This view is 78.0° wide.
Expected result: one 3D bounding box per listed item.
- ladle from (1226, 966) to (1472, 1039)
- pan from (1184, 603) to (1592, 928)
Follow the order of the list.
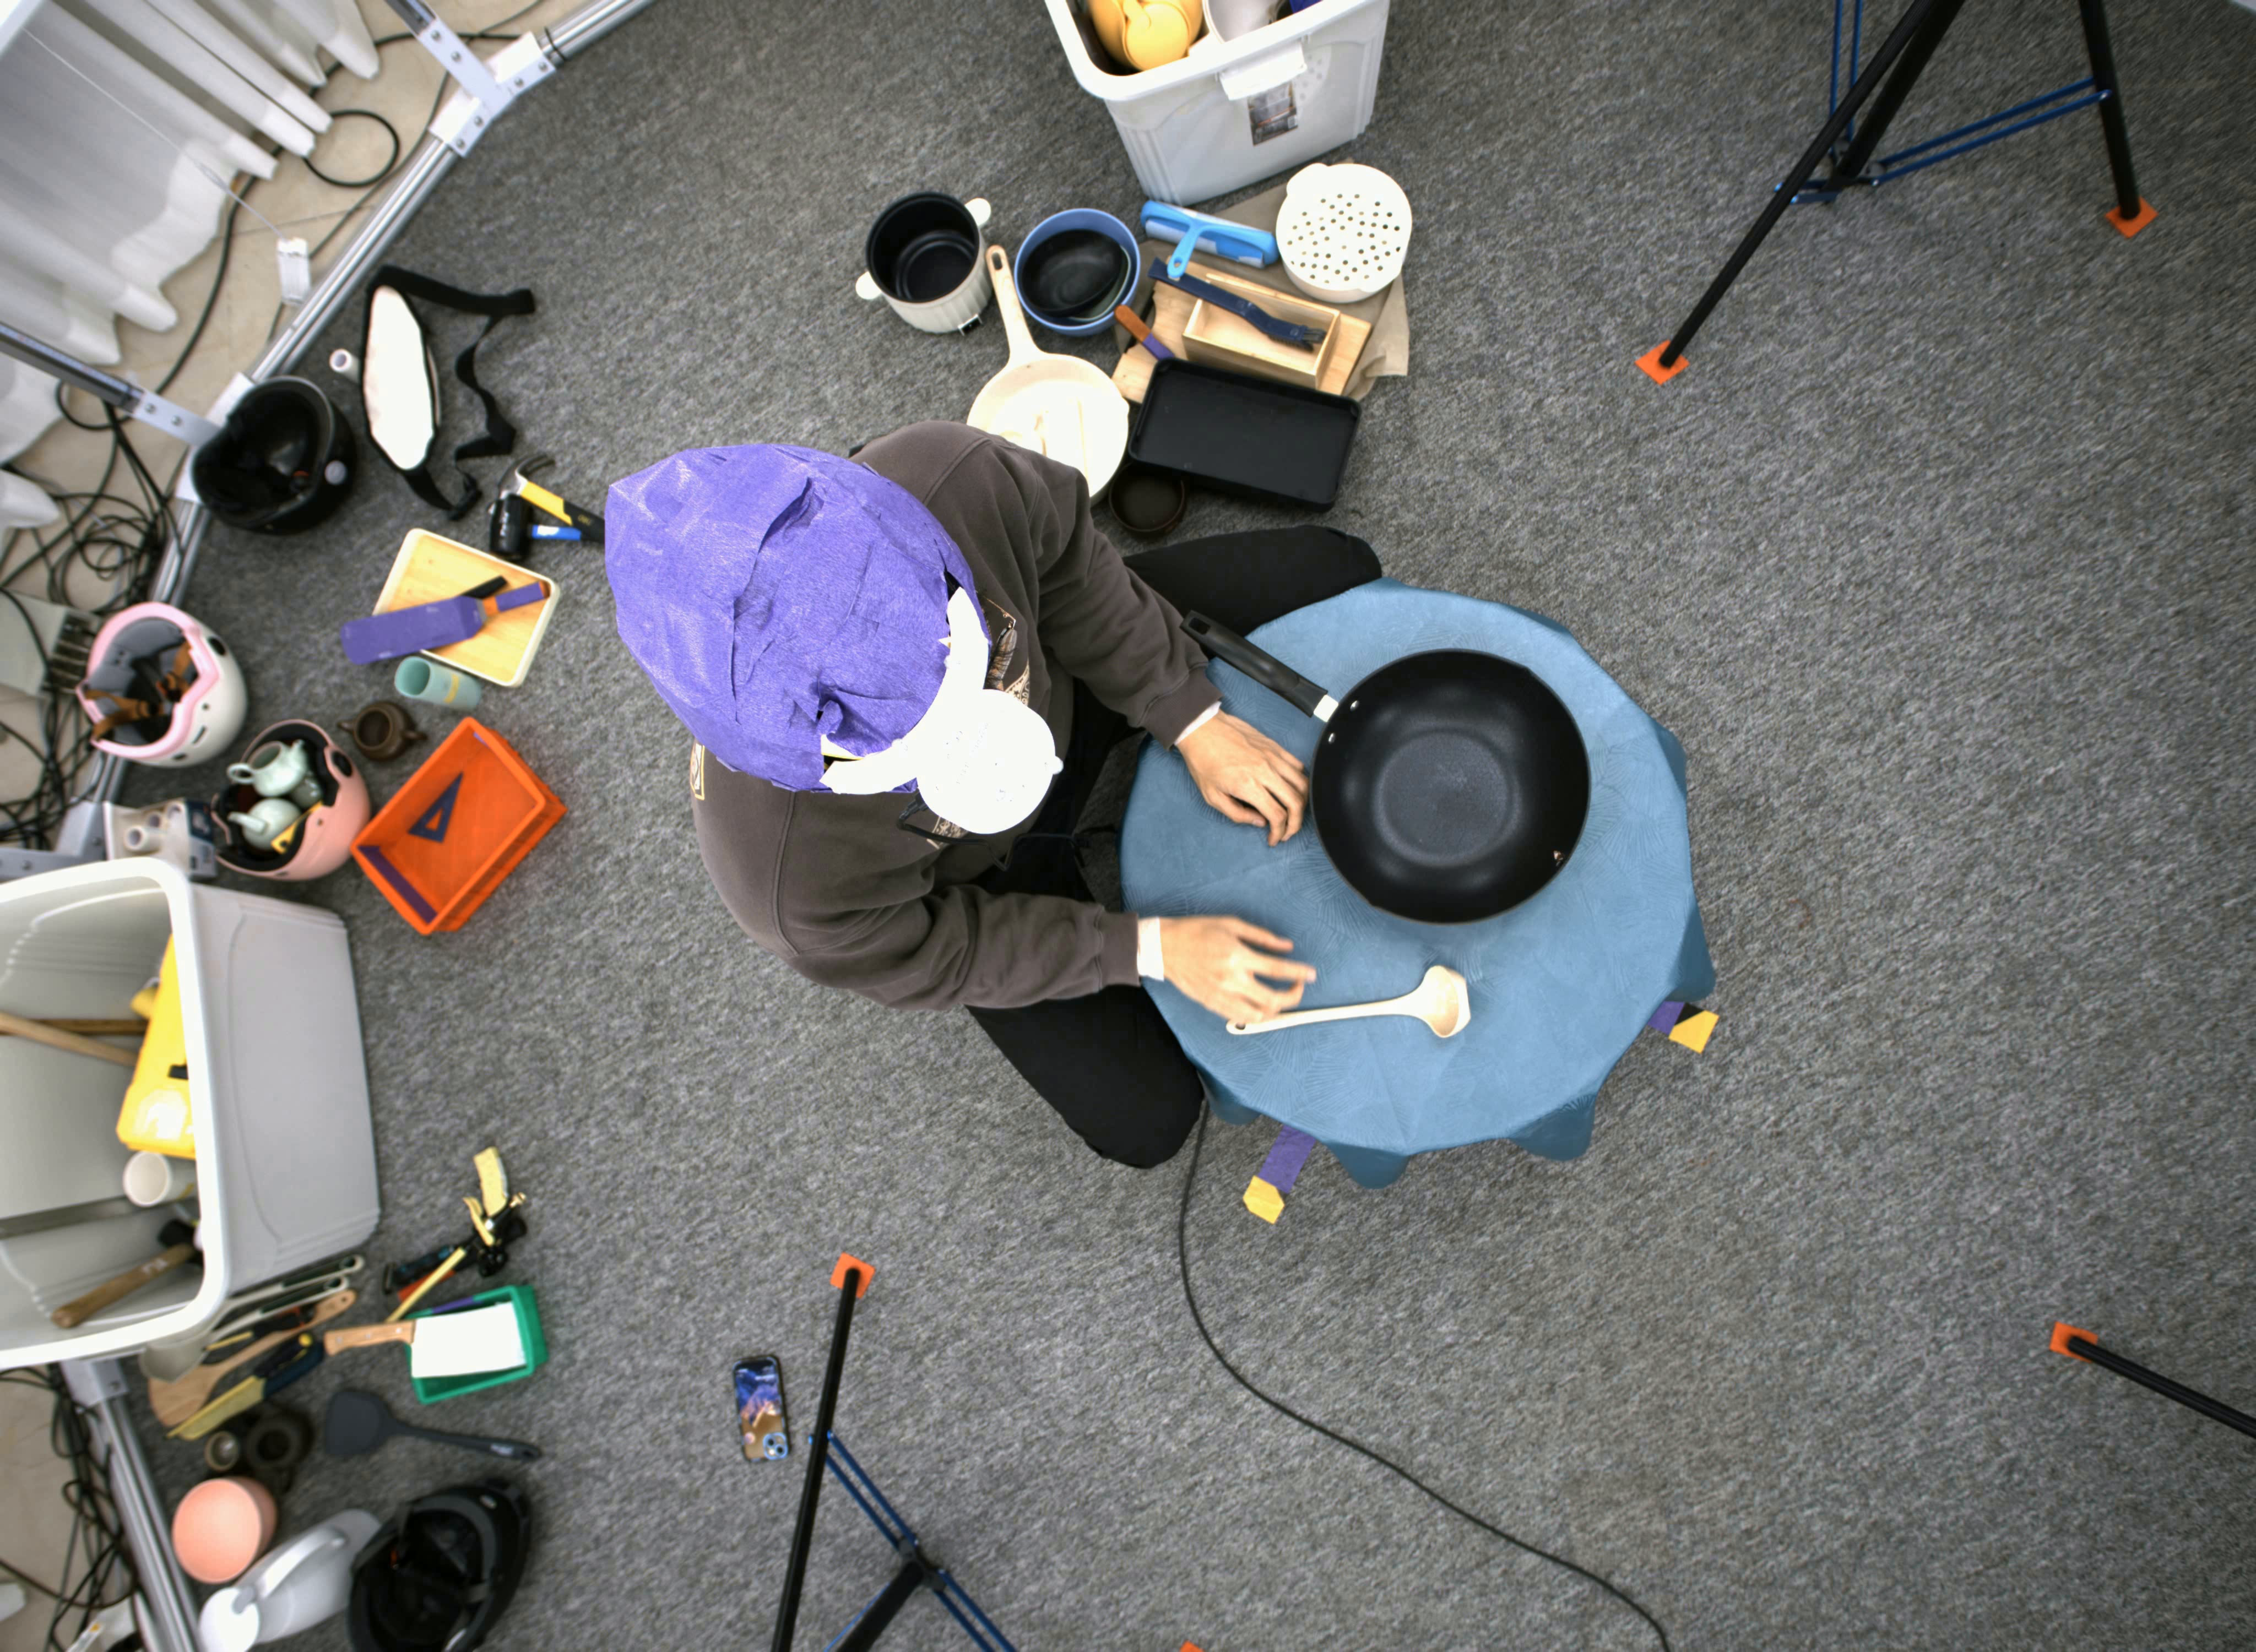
[{"bbox_3d":[0.224,0.195,1.423,0.255,0.072,0.072,-11,90,9],"label":"ladle"},{"bbox_3d":[0.252,-0.087,1.427,0.462,0.087,0.289,34,94,11],"label":"pan"}]
